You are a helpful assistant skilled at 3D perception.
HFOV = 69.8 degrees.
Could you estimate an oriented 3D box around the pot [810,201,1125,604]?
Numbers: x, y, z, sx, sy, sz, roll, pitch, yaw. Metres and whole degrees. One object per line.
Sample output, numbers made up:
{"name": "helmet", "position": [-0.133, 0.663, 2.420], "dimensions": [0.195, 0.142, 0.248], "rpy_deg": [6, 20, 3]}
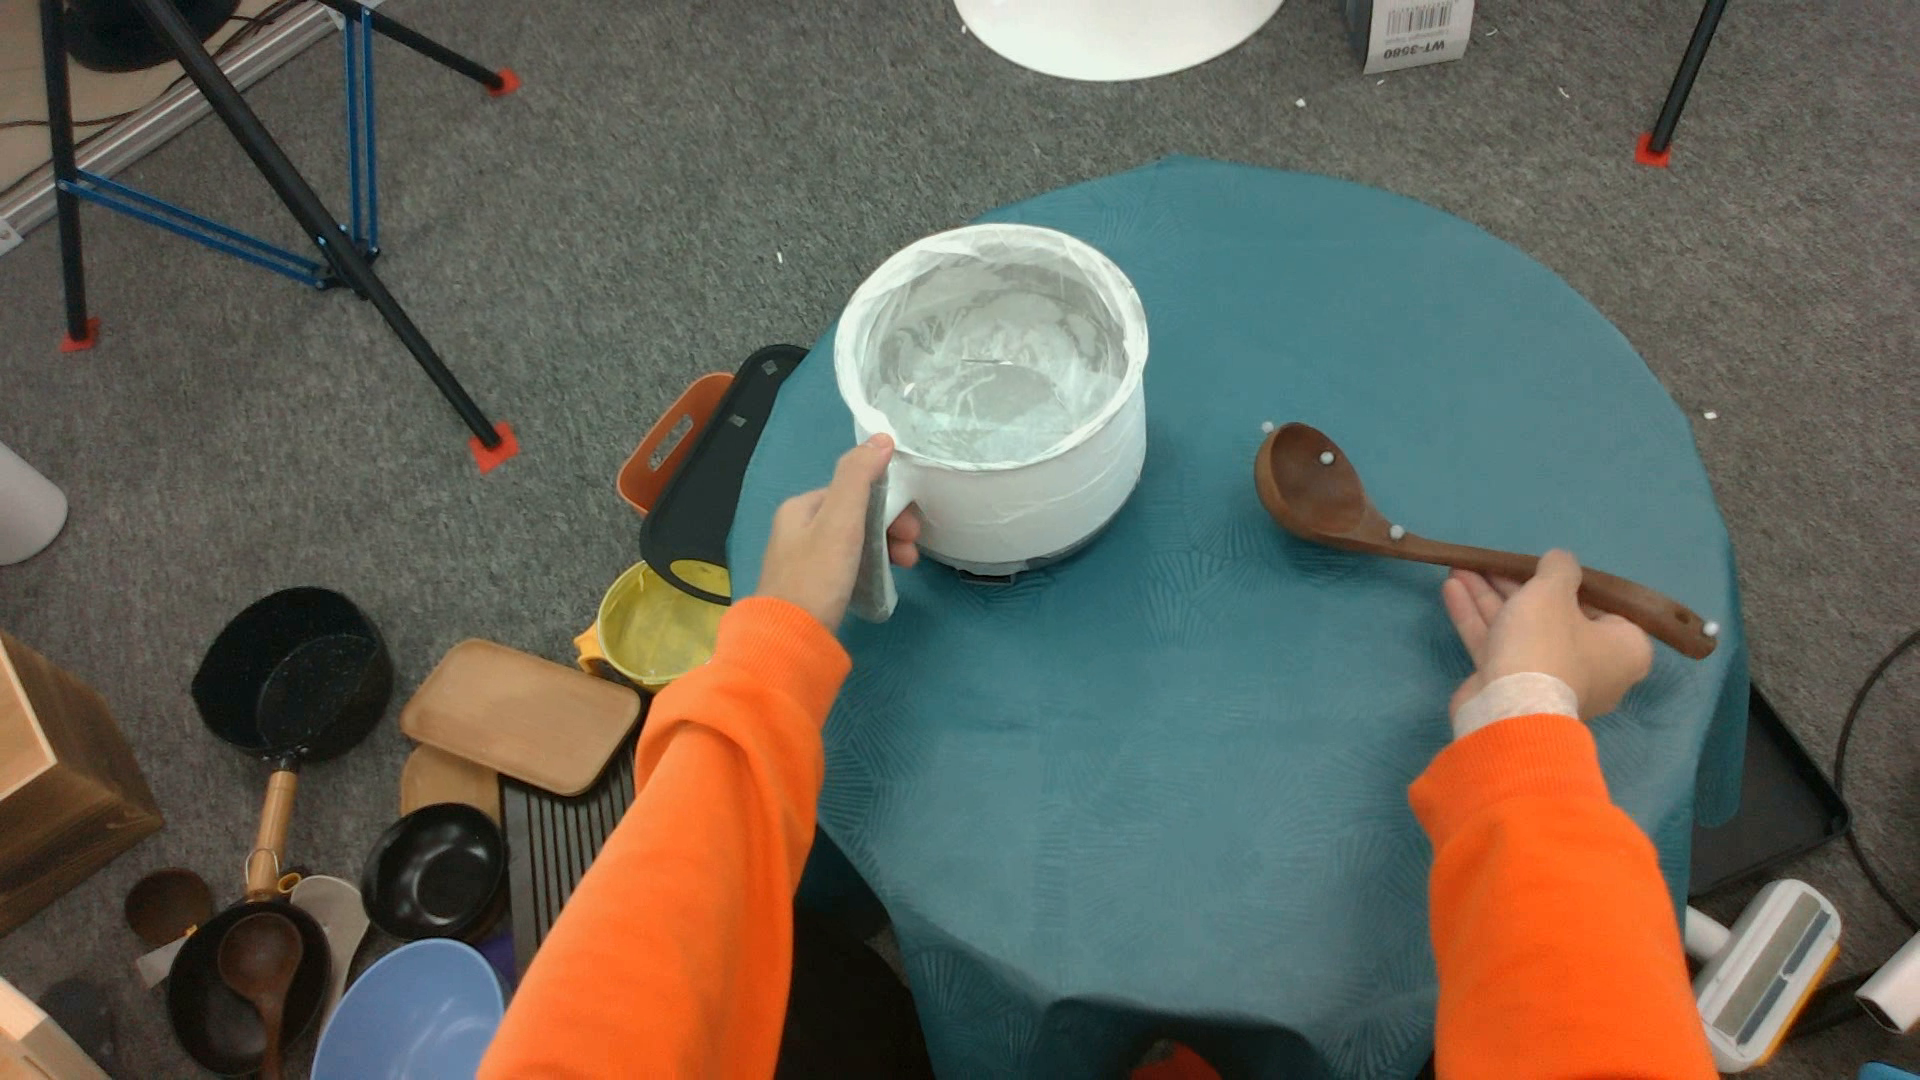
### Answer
{"name": "pot", "position": [-0.006, -0.072, 0.811], "dimensions": [0.179, 0.136, 0.234], "rpy_deg": [29, 66, 22]}

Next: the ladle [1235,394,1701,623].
{"name": "ladle", "position": [0.278, -0.019, 0.768], "dimensions": [0.260, 0.065, 0.077], "rpy_deg": [19, 52, 28]}
